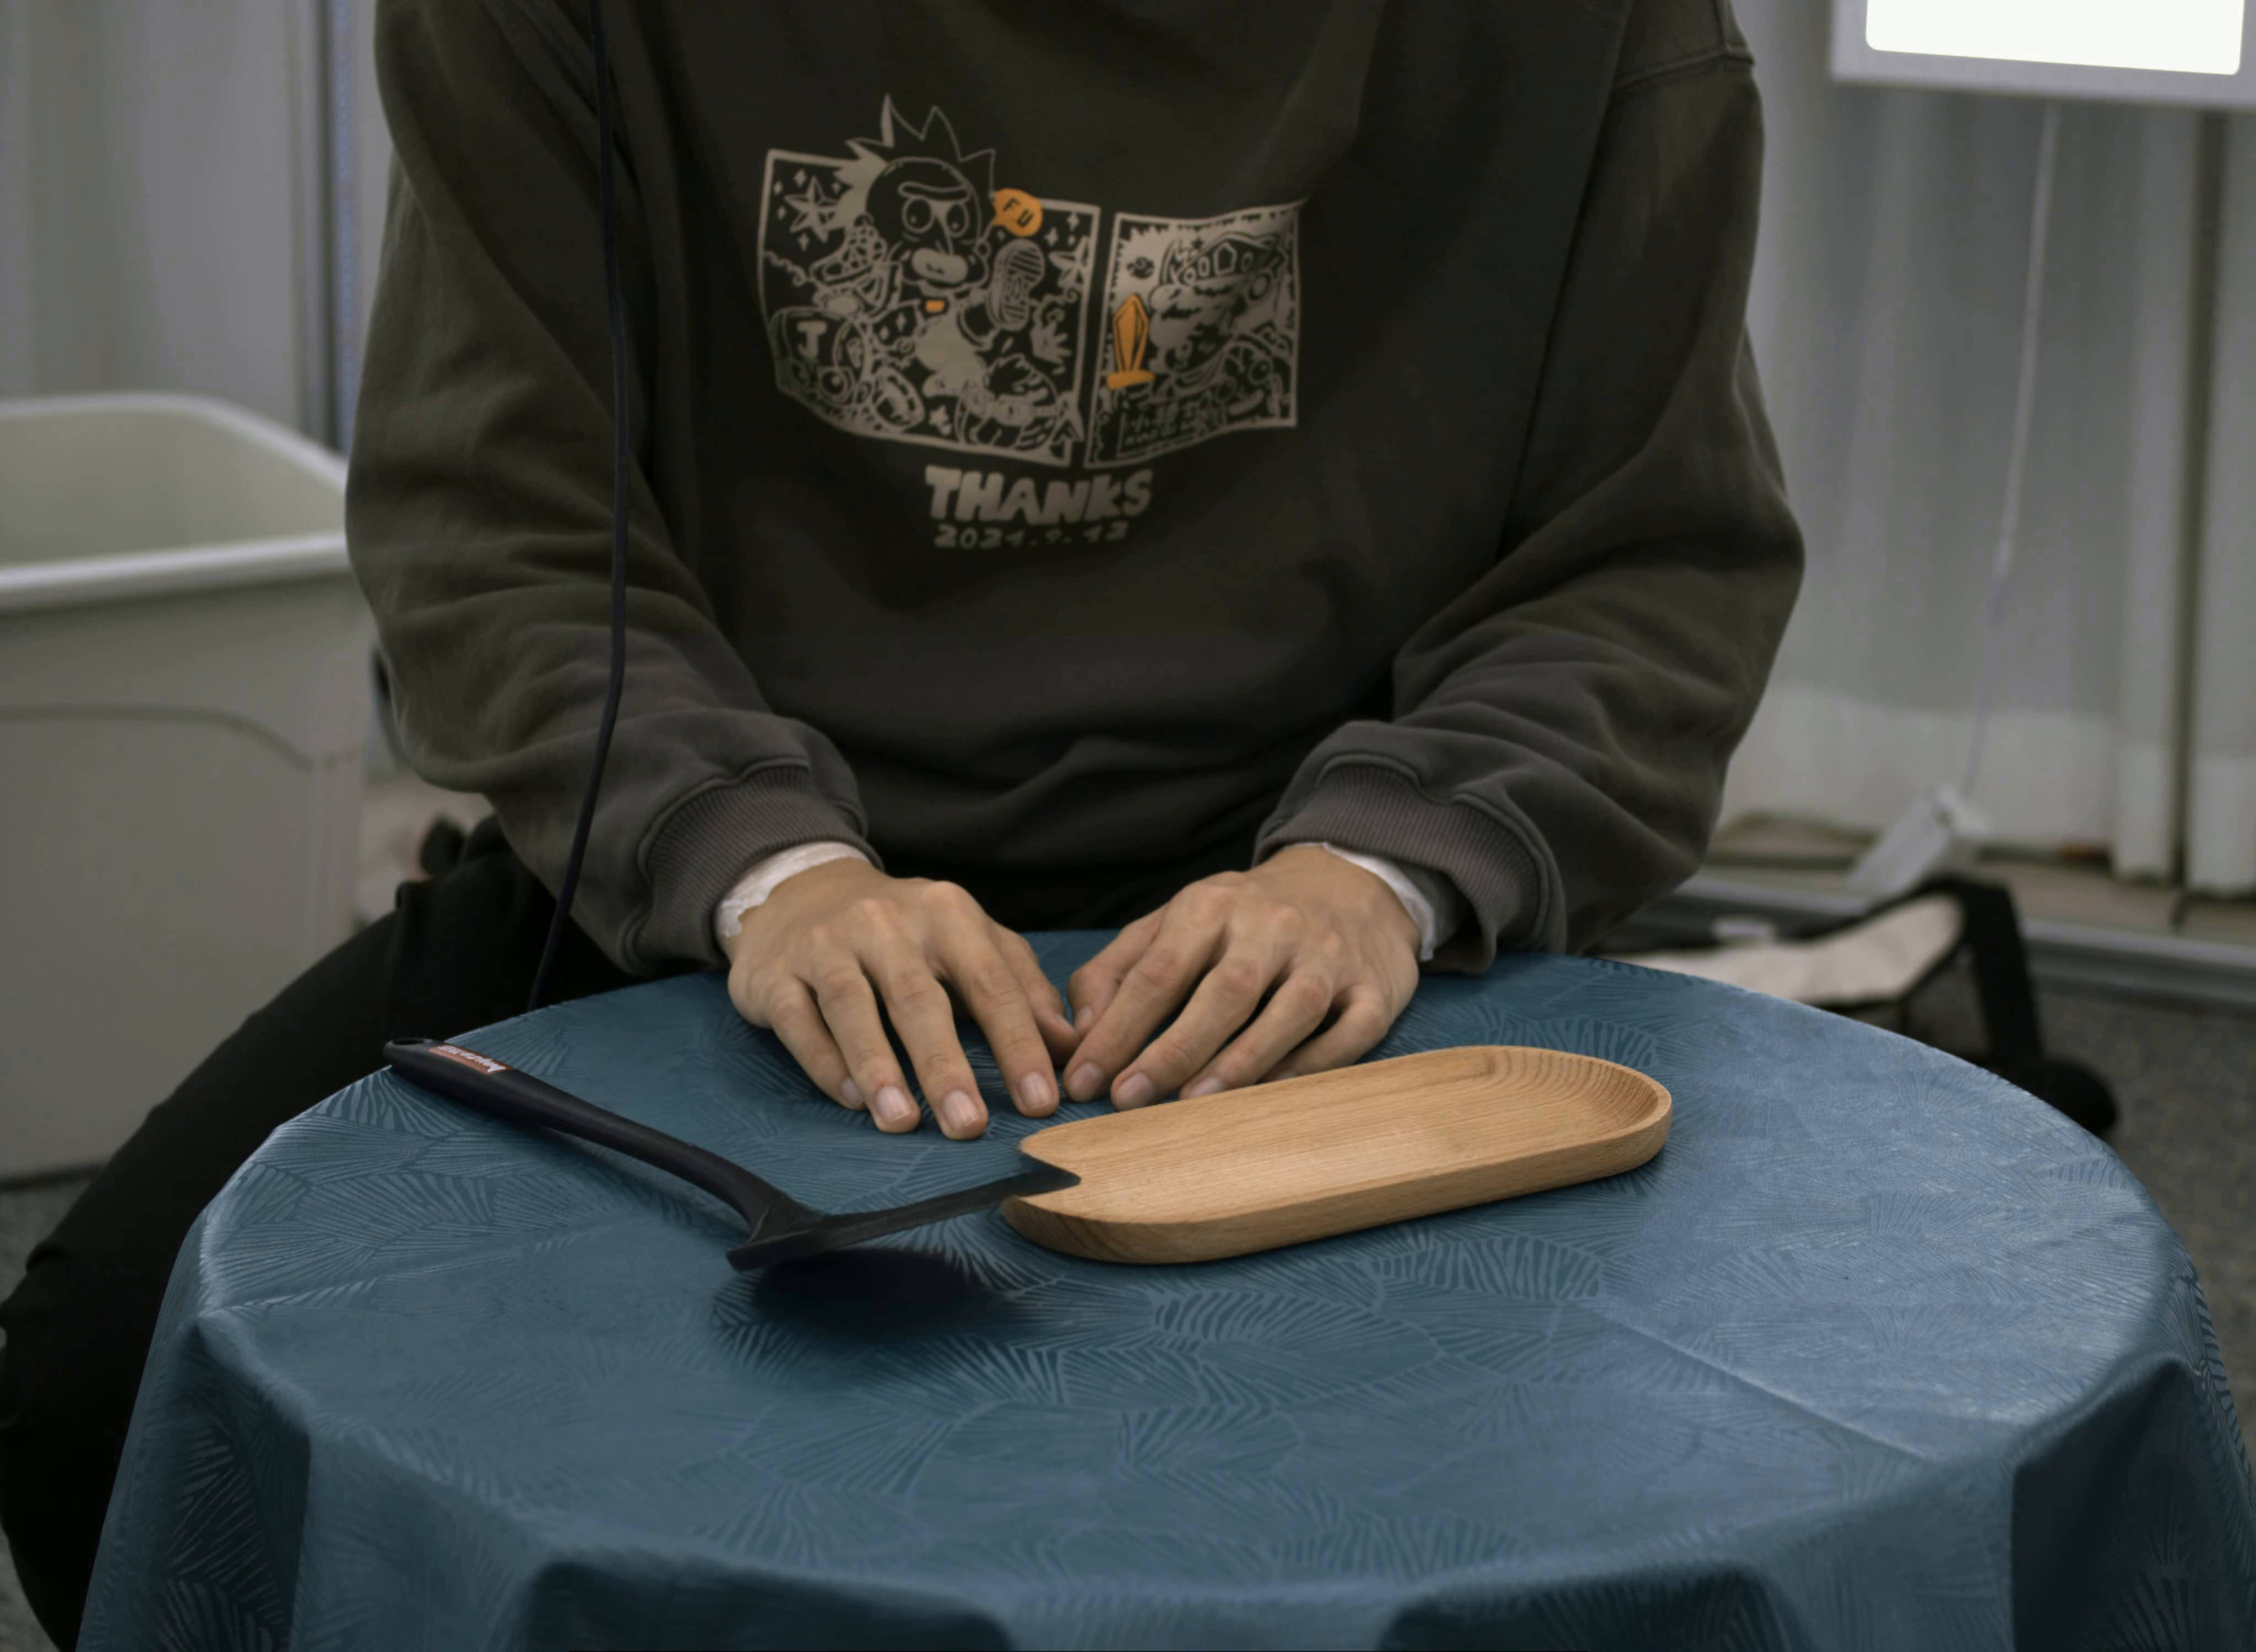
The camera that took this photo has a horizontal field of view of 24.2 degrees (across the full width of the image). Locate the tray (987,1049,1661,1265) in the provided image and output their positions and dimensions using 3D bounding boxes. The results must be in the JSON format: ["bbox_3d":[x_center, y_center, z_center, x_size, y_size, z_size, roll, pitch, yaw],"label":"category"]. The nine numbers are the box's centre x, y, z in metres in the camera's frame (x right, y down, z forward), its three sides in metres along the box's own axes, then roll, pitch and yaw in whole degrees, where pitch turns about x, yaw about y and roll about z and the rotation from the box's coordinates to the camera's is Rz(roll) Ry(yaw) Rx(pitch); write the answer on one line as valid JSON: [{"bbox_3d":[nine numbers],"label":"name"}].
[{"bbox_3d":[0.063,0.102,1.639,0.232,0.020,0.100,-10,18,-31],"label":"tray"}]

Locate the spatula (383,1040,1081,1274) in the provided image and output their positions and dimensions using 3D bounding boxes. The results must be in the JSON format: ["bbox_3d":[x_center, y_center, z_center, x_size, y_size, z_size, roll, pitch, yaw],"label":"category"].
[{"bbox_3d":[-0.145,0.094,1.623,0.100,0.040,0.322,-10,19,-37],"label":"spatula"}]
